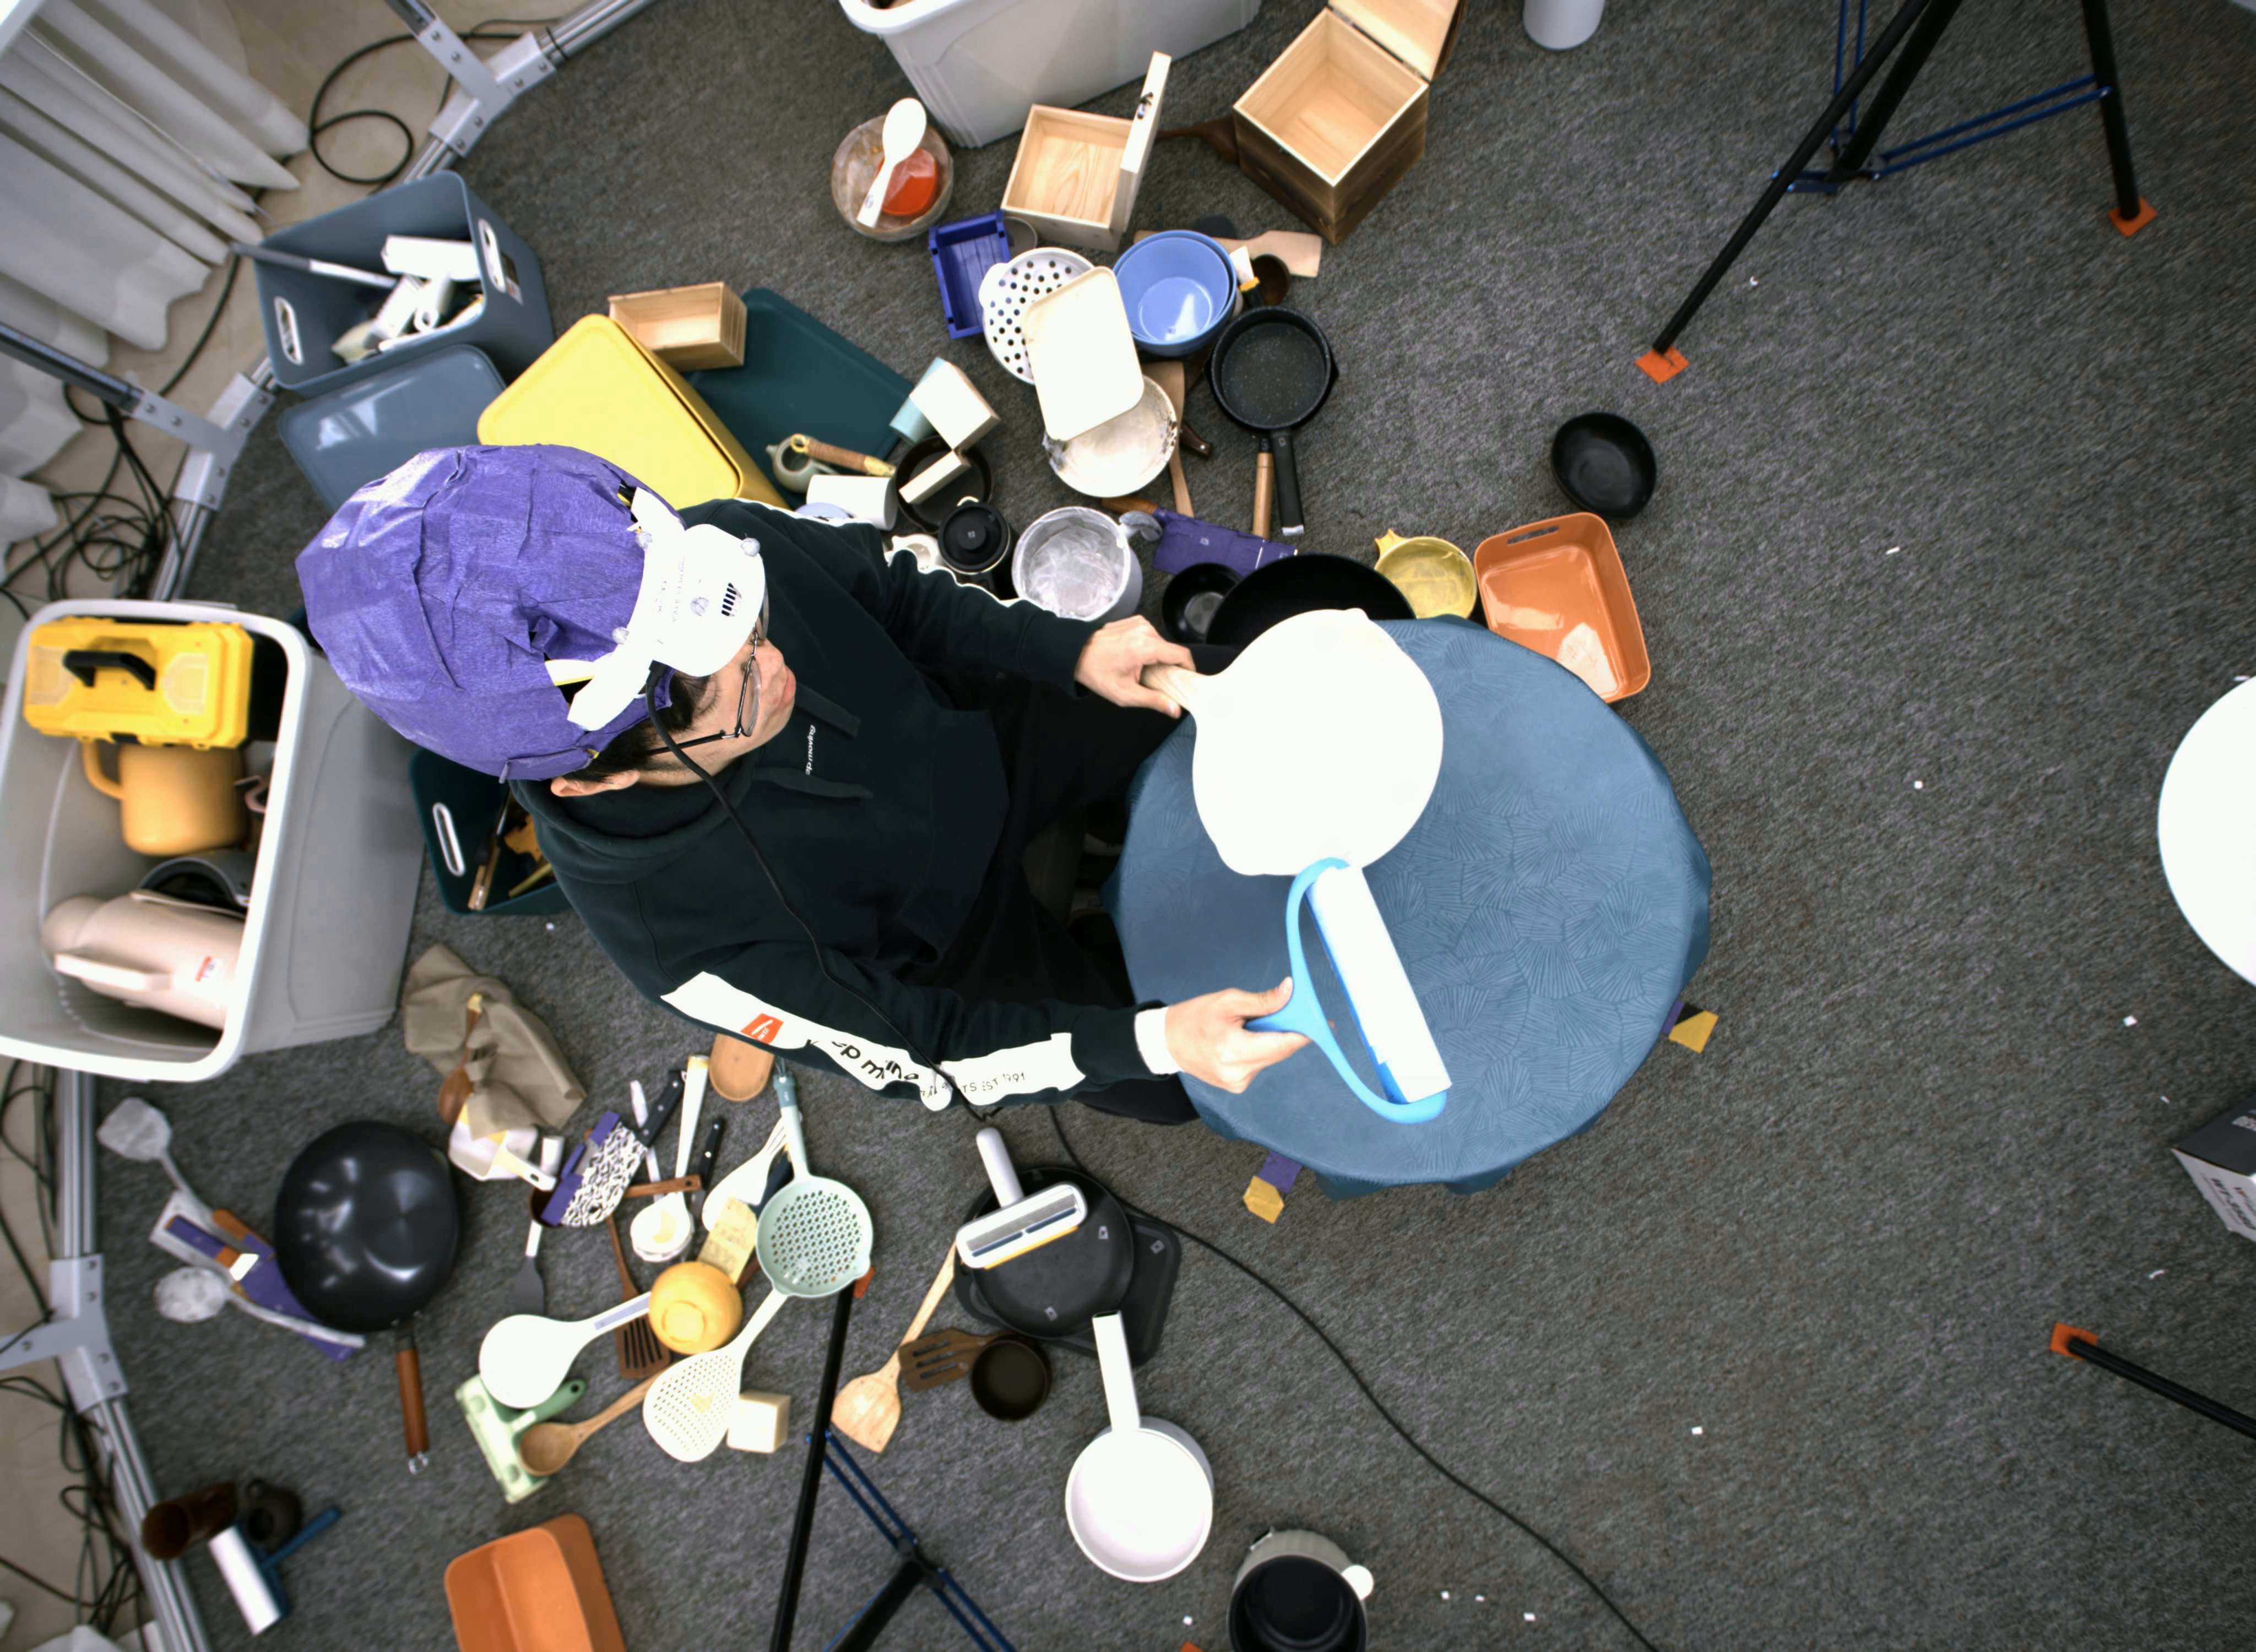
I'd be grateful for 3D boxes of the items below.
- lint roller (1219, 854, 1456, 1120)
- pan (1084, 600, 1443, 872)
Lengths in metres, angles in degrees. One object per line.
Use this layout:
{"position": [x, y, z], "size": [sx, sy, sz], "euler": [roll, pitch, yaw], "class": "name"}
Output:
{"position": [0.152, 0.154, 1.143], "size": [0.182, 0.068, 0.227], "euler": [-27, 79, 13], "class": "lint roller"}
{"position": [0.120, -0.108, 1.335], "size": [0.431, 0.102, 0.265], "euler": [31, 102, 46], "class": "pan"}
